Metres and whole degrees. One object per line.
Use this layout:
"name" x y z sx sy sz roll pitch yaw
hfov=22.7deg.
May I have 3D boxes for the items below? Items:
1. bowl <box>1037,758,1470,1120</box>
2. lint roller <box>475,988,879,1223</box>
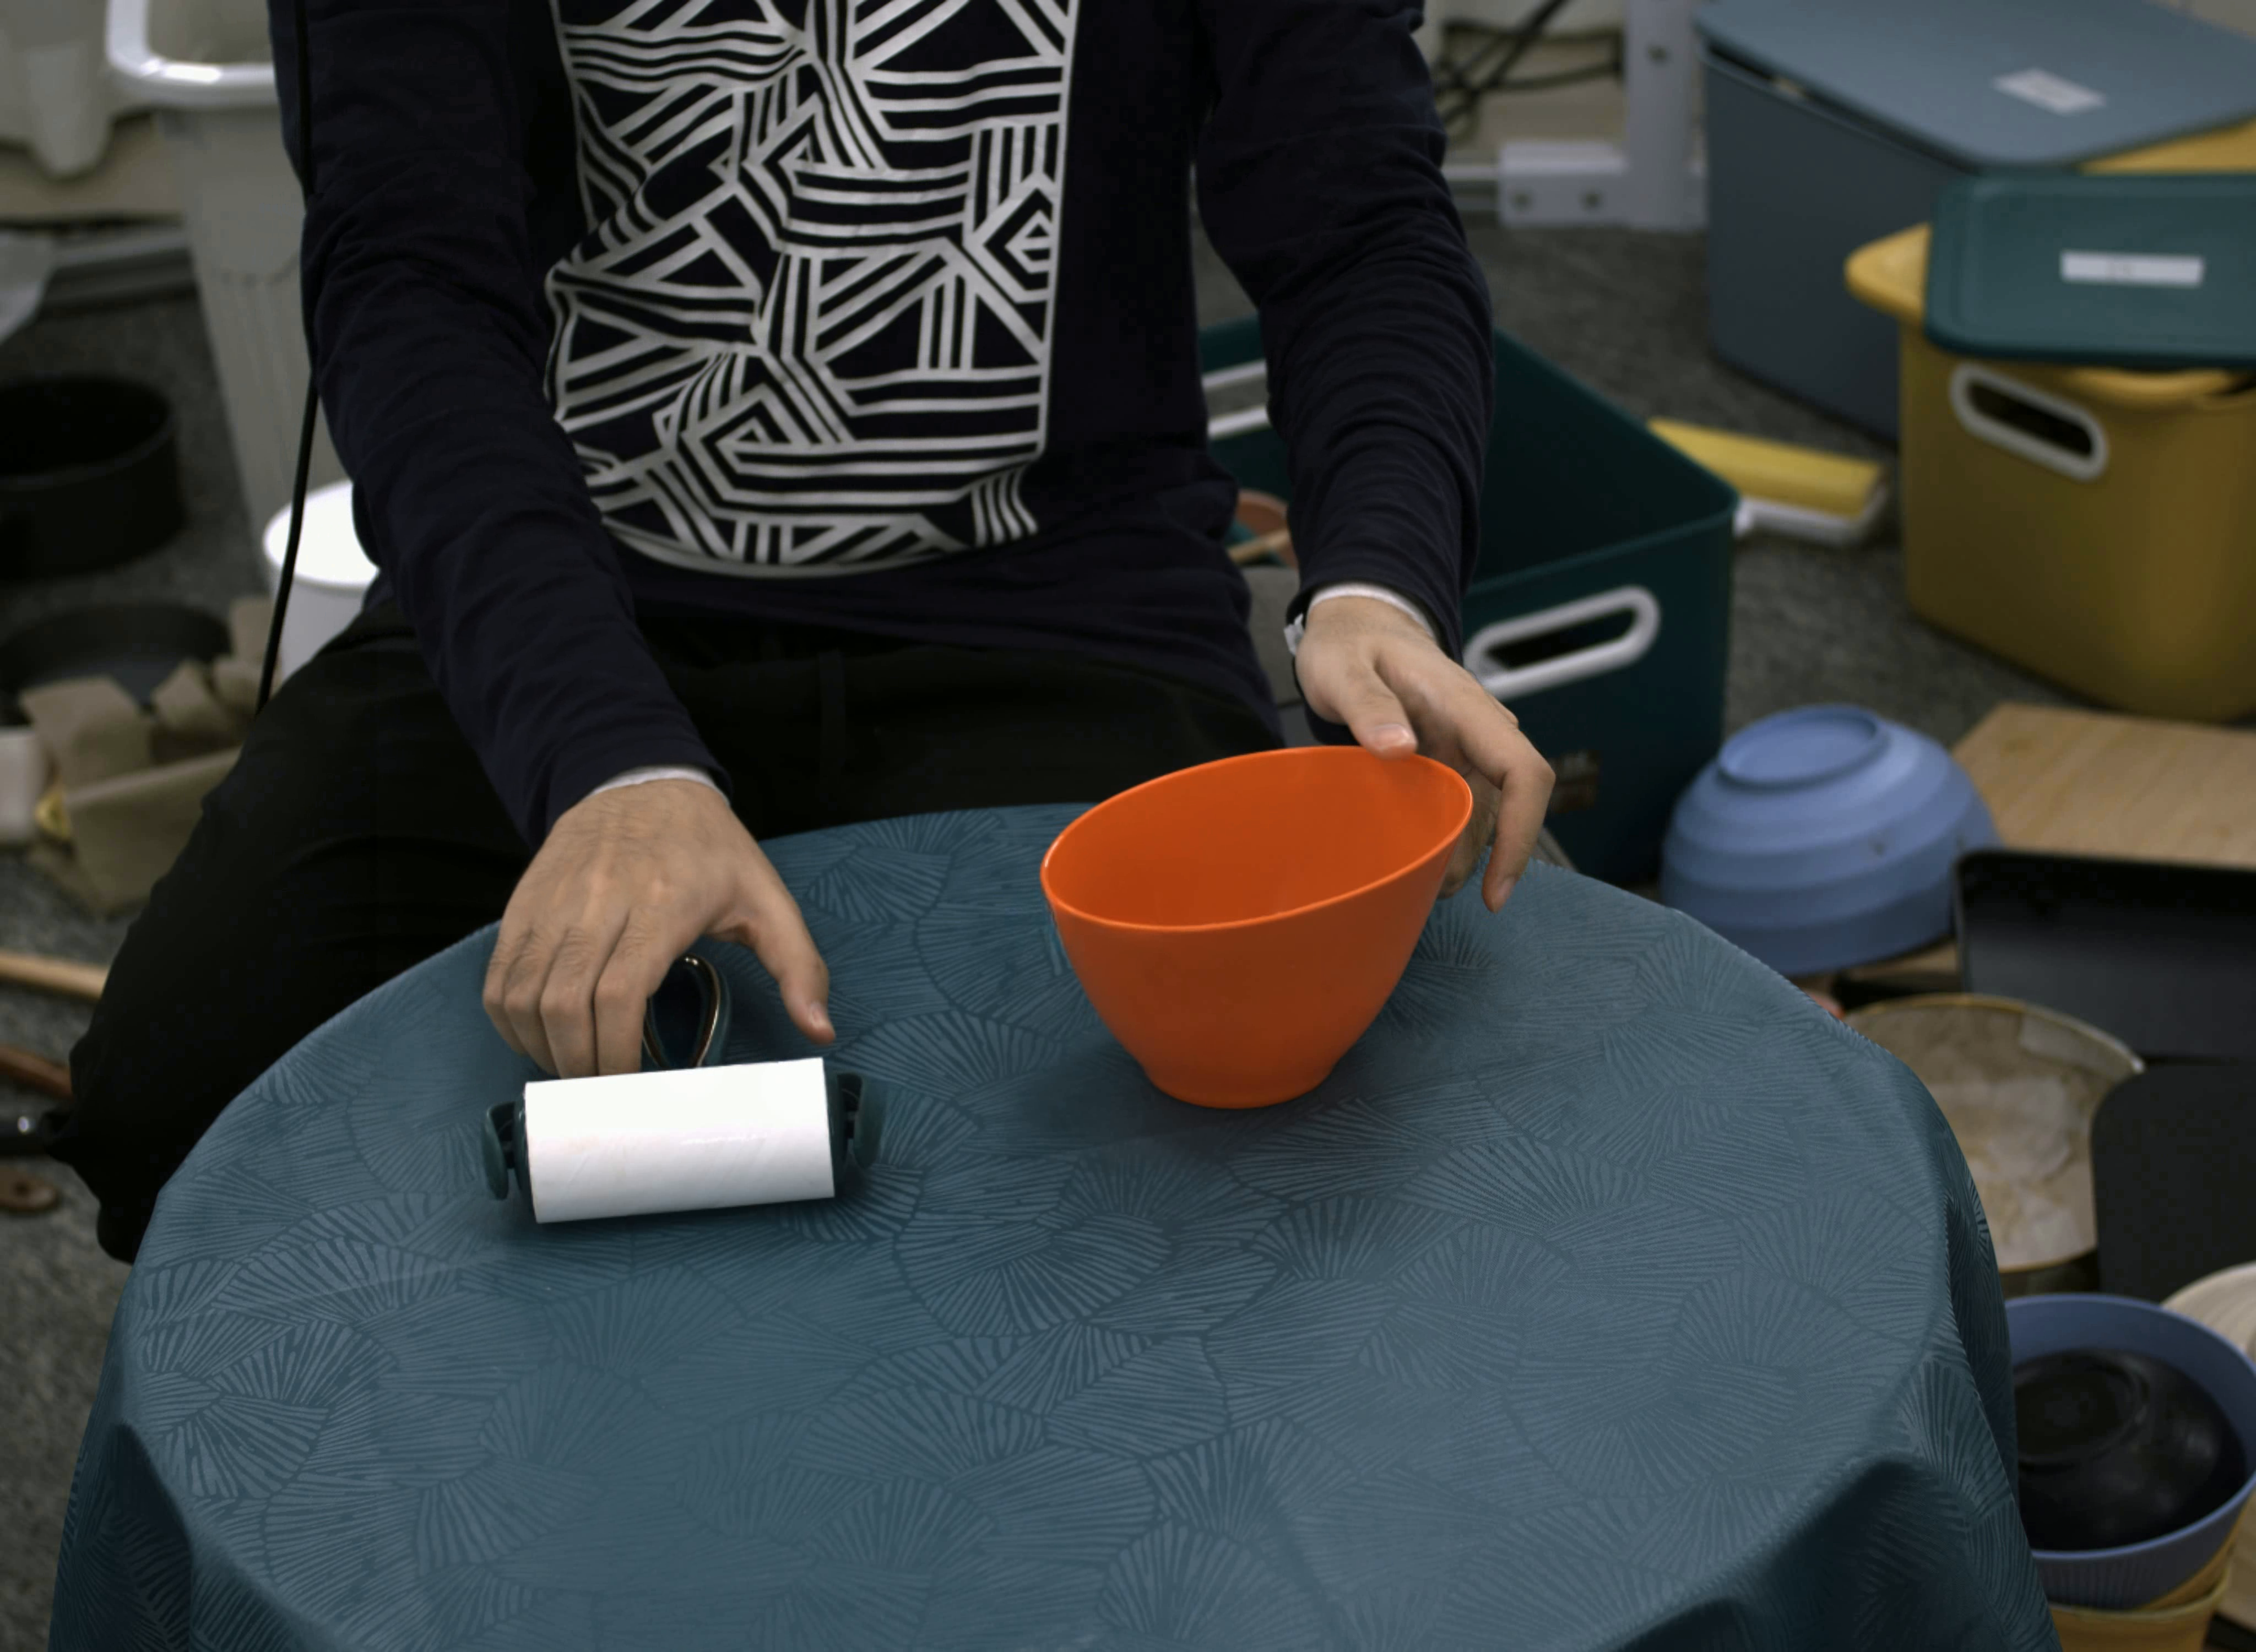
"bowl" 0.044 0.042 1.907 0.147 0.103 0.150 -3 24 2
"lint roller" -0.155 0.077 1.920 0.134 0.048 0.182 -5 24 -4
